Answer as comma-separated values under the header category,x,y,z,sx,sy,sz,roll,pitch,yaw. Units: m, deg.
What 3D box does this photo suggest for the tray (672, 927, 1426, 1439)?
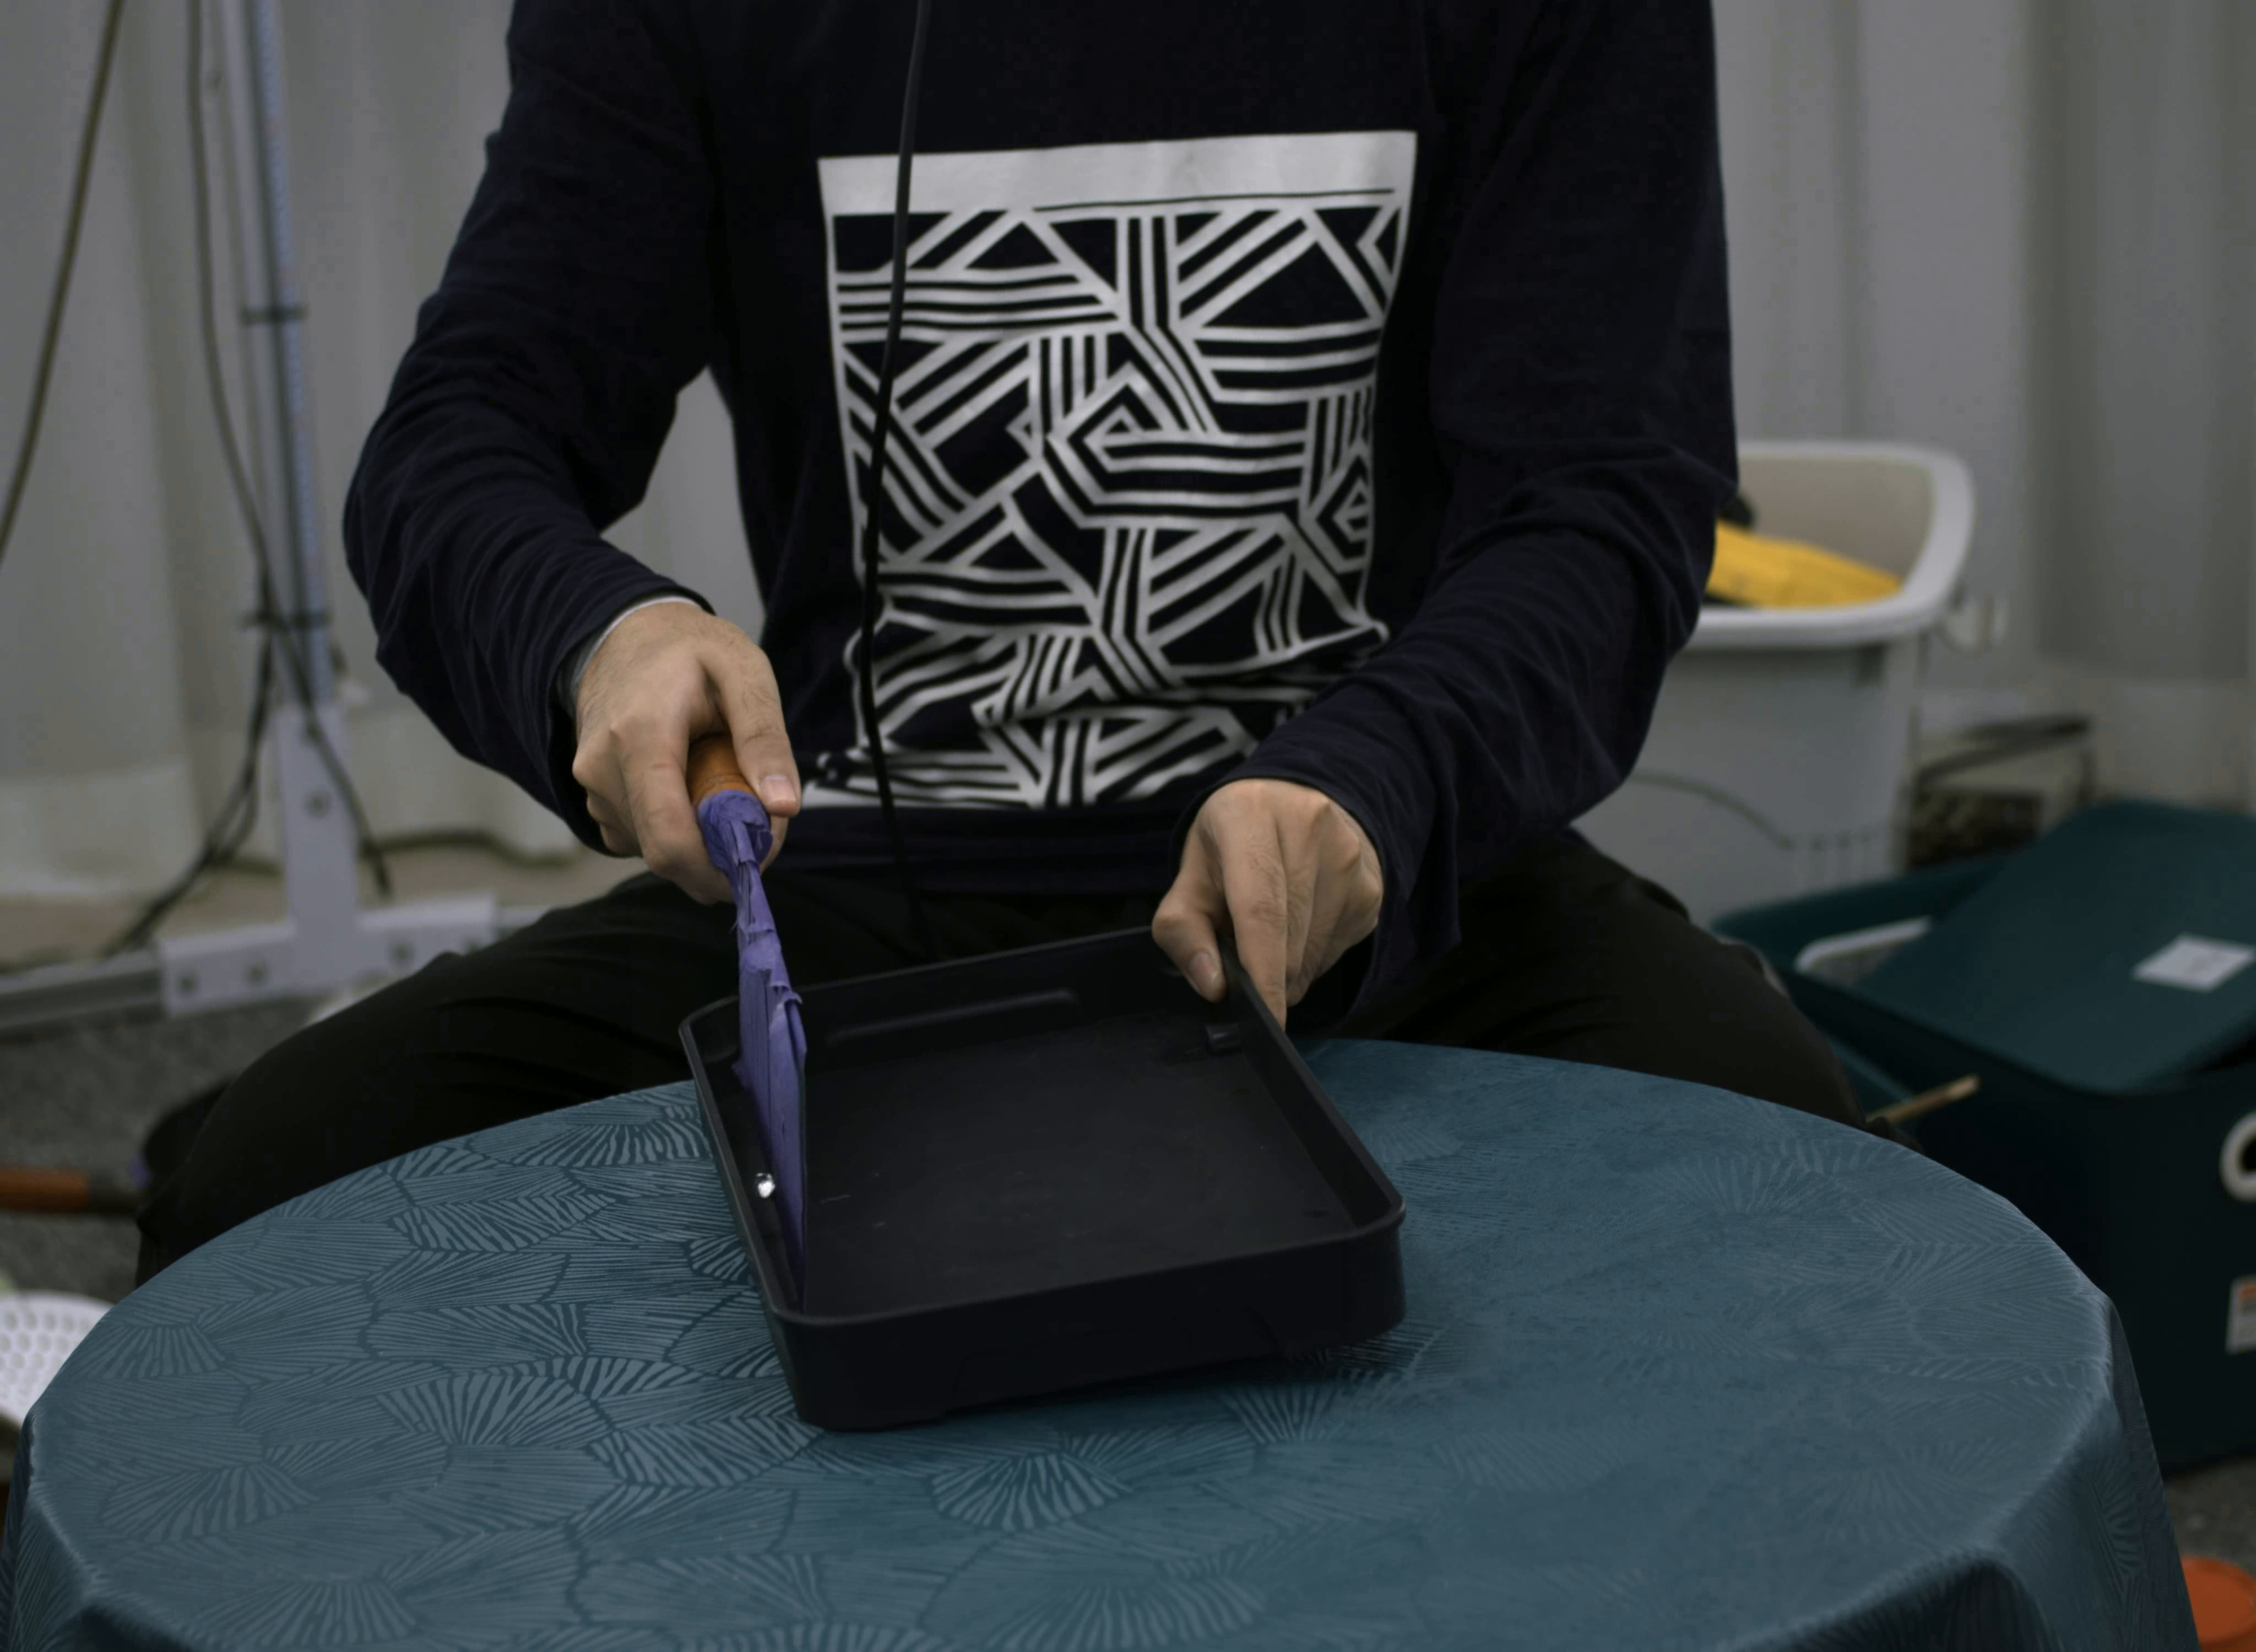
category,x,y,z,sx,sy,sz,roll,pitch,yaw
tray,-0.030,0.103,1.671,0.183,0.037,0.320,-9,16,-9

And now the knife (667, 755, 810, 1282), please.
category,x,y,z,sx,sy,sz,roll,pitch,yaw
knife,-0.127,0.057,1.720,0.032,0.103,0.317,9,13,-10
